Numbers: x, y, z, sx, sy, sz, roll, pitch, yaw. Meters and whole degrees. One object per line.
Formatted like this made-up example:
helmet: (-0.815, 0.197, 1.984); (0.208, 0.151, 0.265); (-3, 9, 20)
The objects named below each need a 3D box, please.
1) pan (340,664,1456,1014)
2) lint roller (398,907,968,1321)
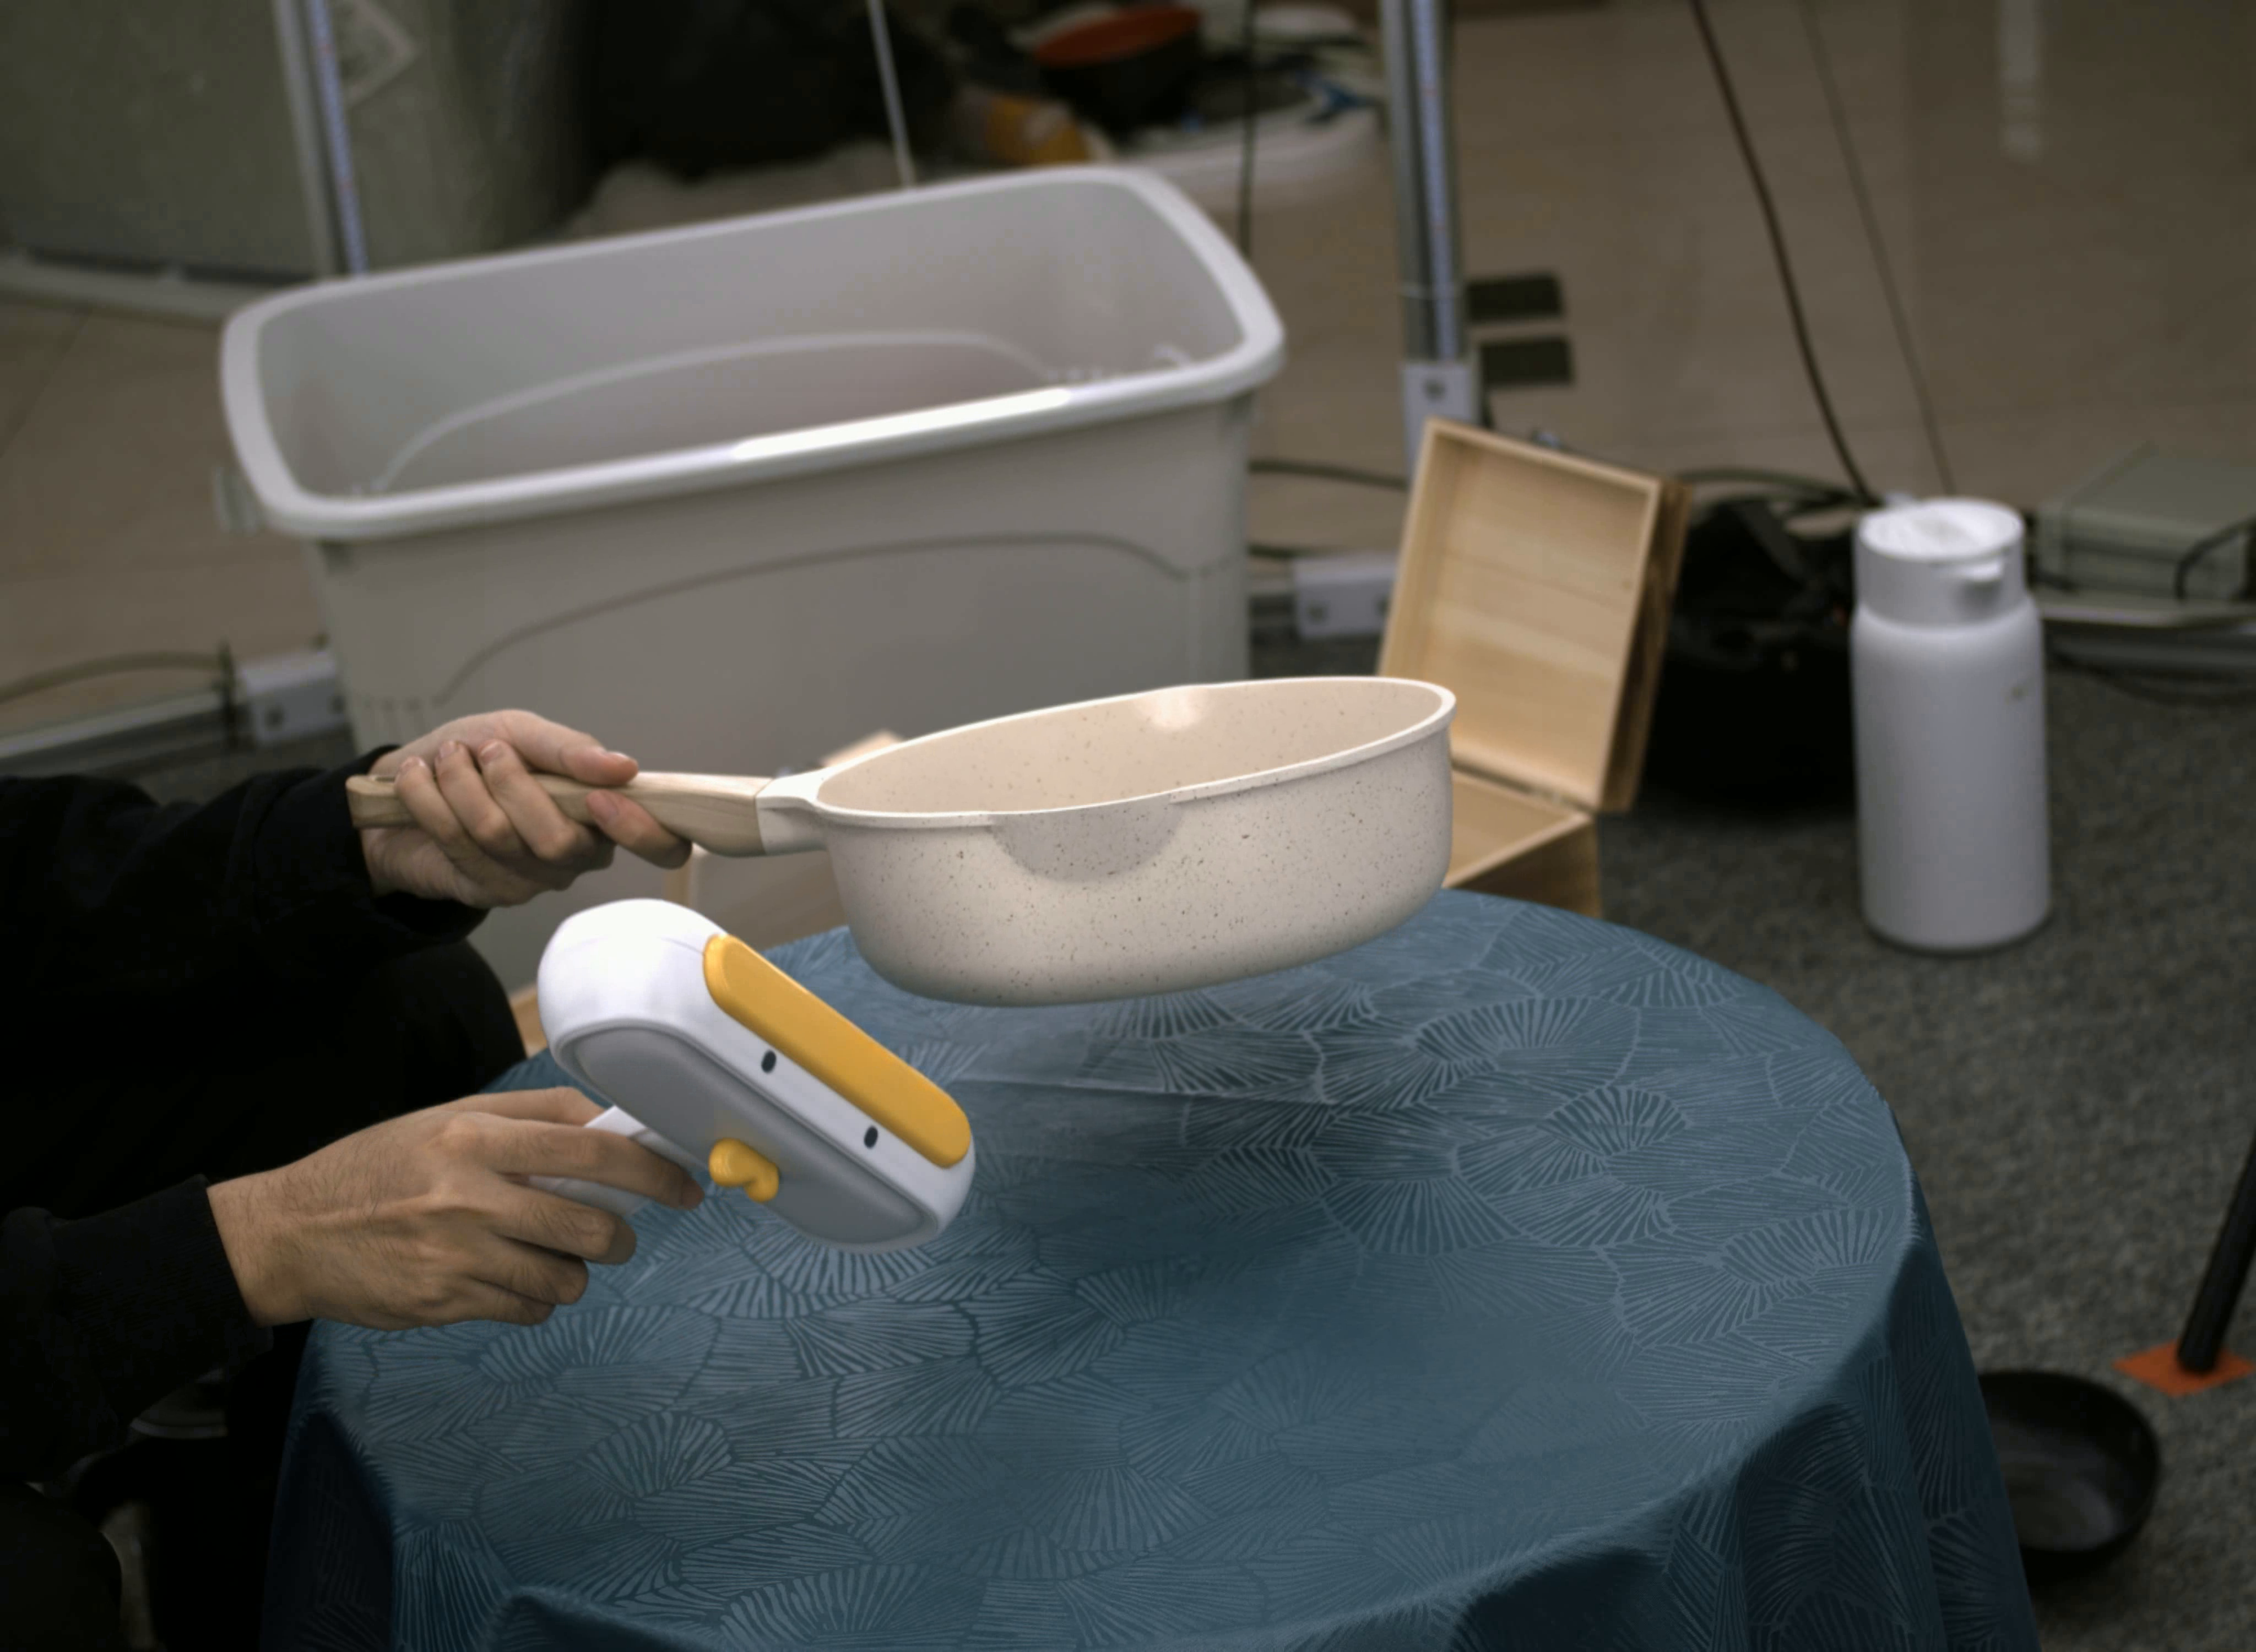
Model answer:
pan: (-0.085, 0.010, 2.176); (0.434, 0.103, 0.261); (-7, 12, 9)
lint roller: (-0.175, 0.112, 1.951); (0.193, 0.195, 0.073); (-24, 54, 30)
